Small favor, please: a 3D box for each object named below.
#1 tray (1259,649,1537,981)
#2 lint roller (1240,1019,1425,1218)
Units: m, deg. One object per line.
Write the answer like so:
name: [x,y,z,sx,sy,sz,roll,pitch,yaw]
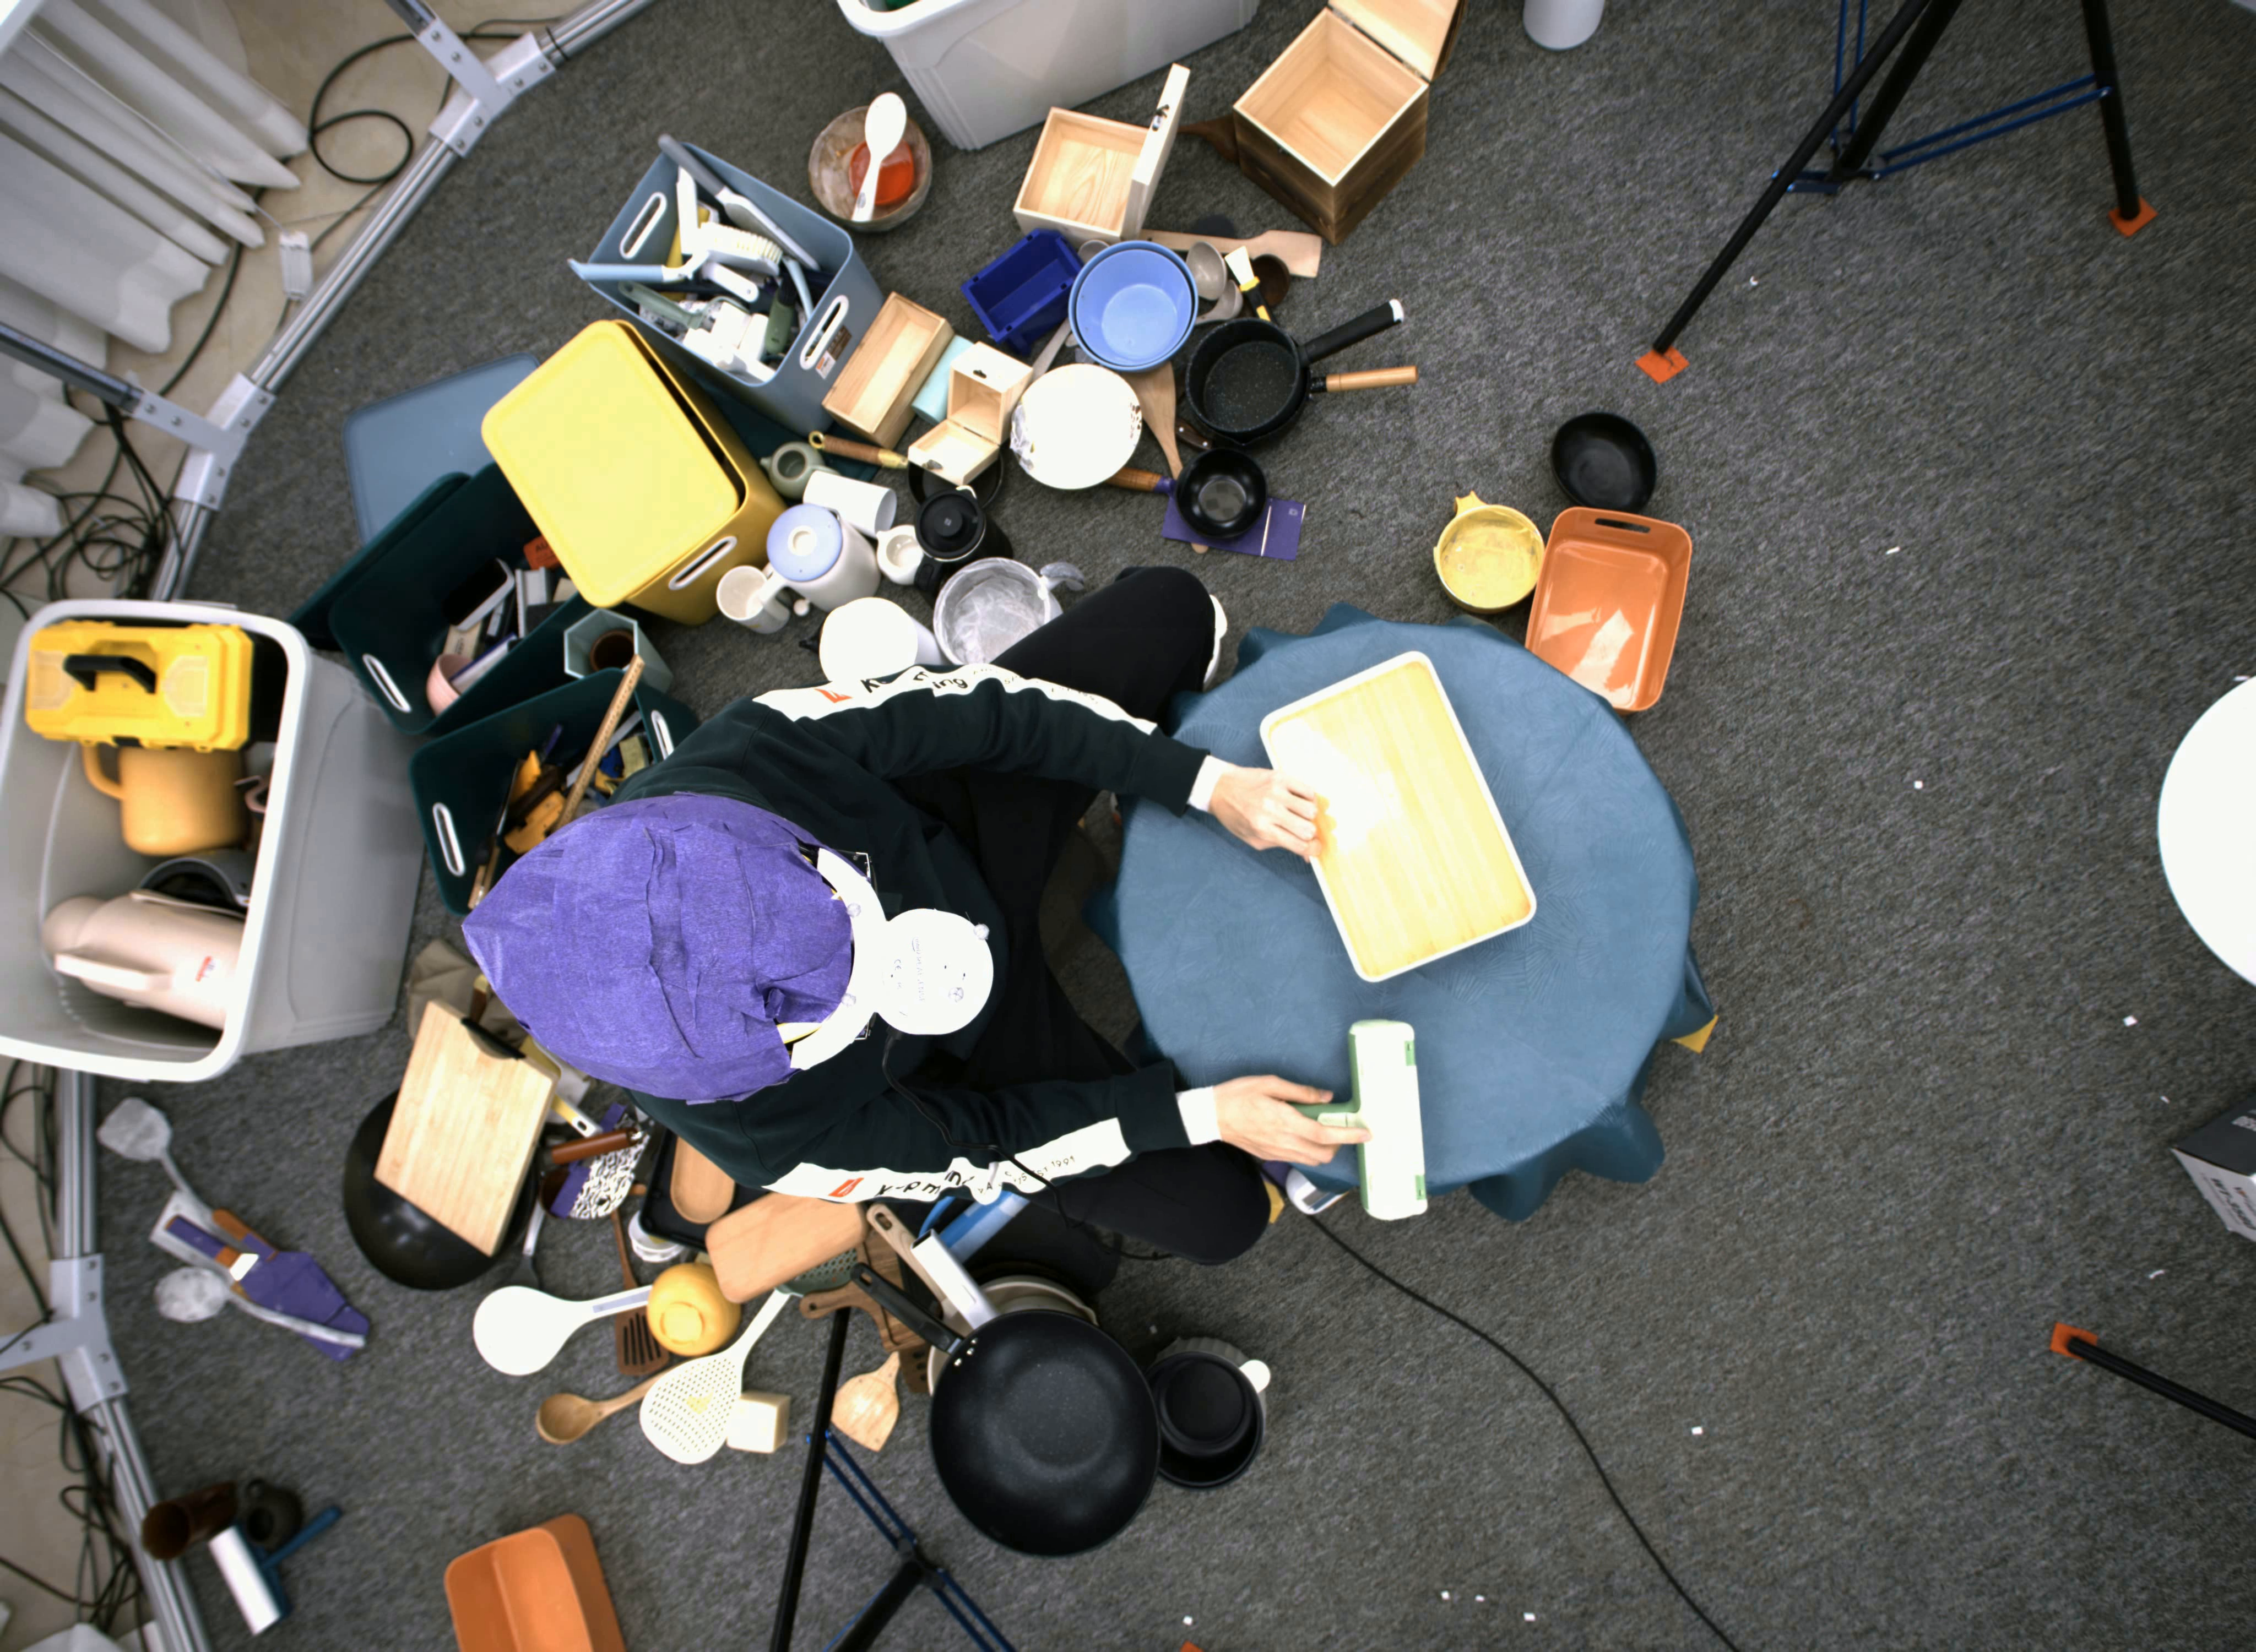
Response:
tray: [0.270,-0.012,1.395,0.193,0.027,0.297,-24,78,15]
lint roller: [0.202,0.298,1.402,0.184,0.081,0.199,-5,95,11]
